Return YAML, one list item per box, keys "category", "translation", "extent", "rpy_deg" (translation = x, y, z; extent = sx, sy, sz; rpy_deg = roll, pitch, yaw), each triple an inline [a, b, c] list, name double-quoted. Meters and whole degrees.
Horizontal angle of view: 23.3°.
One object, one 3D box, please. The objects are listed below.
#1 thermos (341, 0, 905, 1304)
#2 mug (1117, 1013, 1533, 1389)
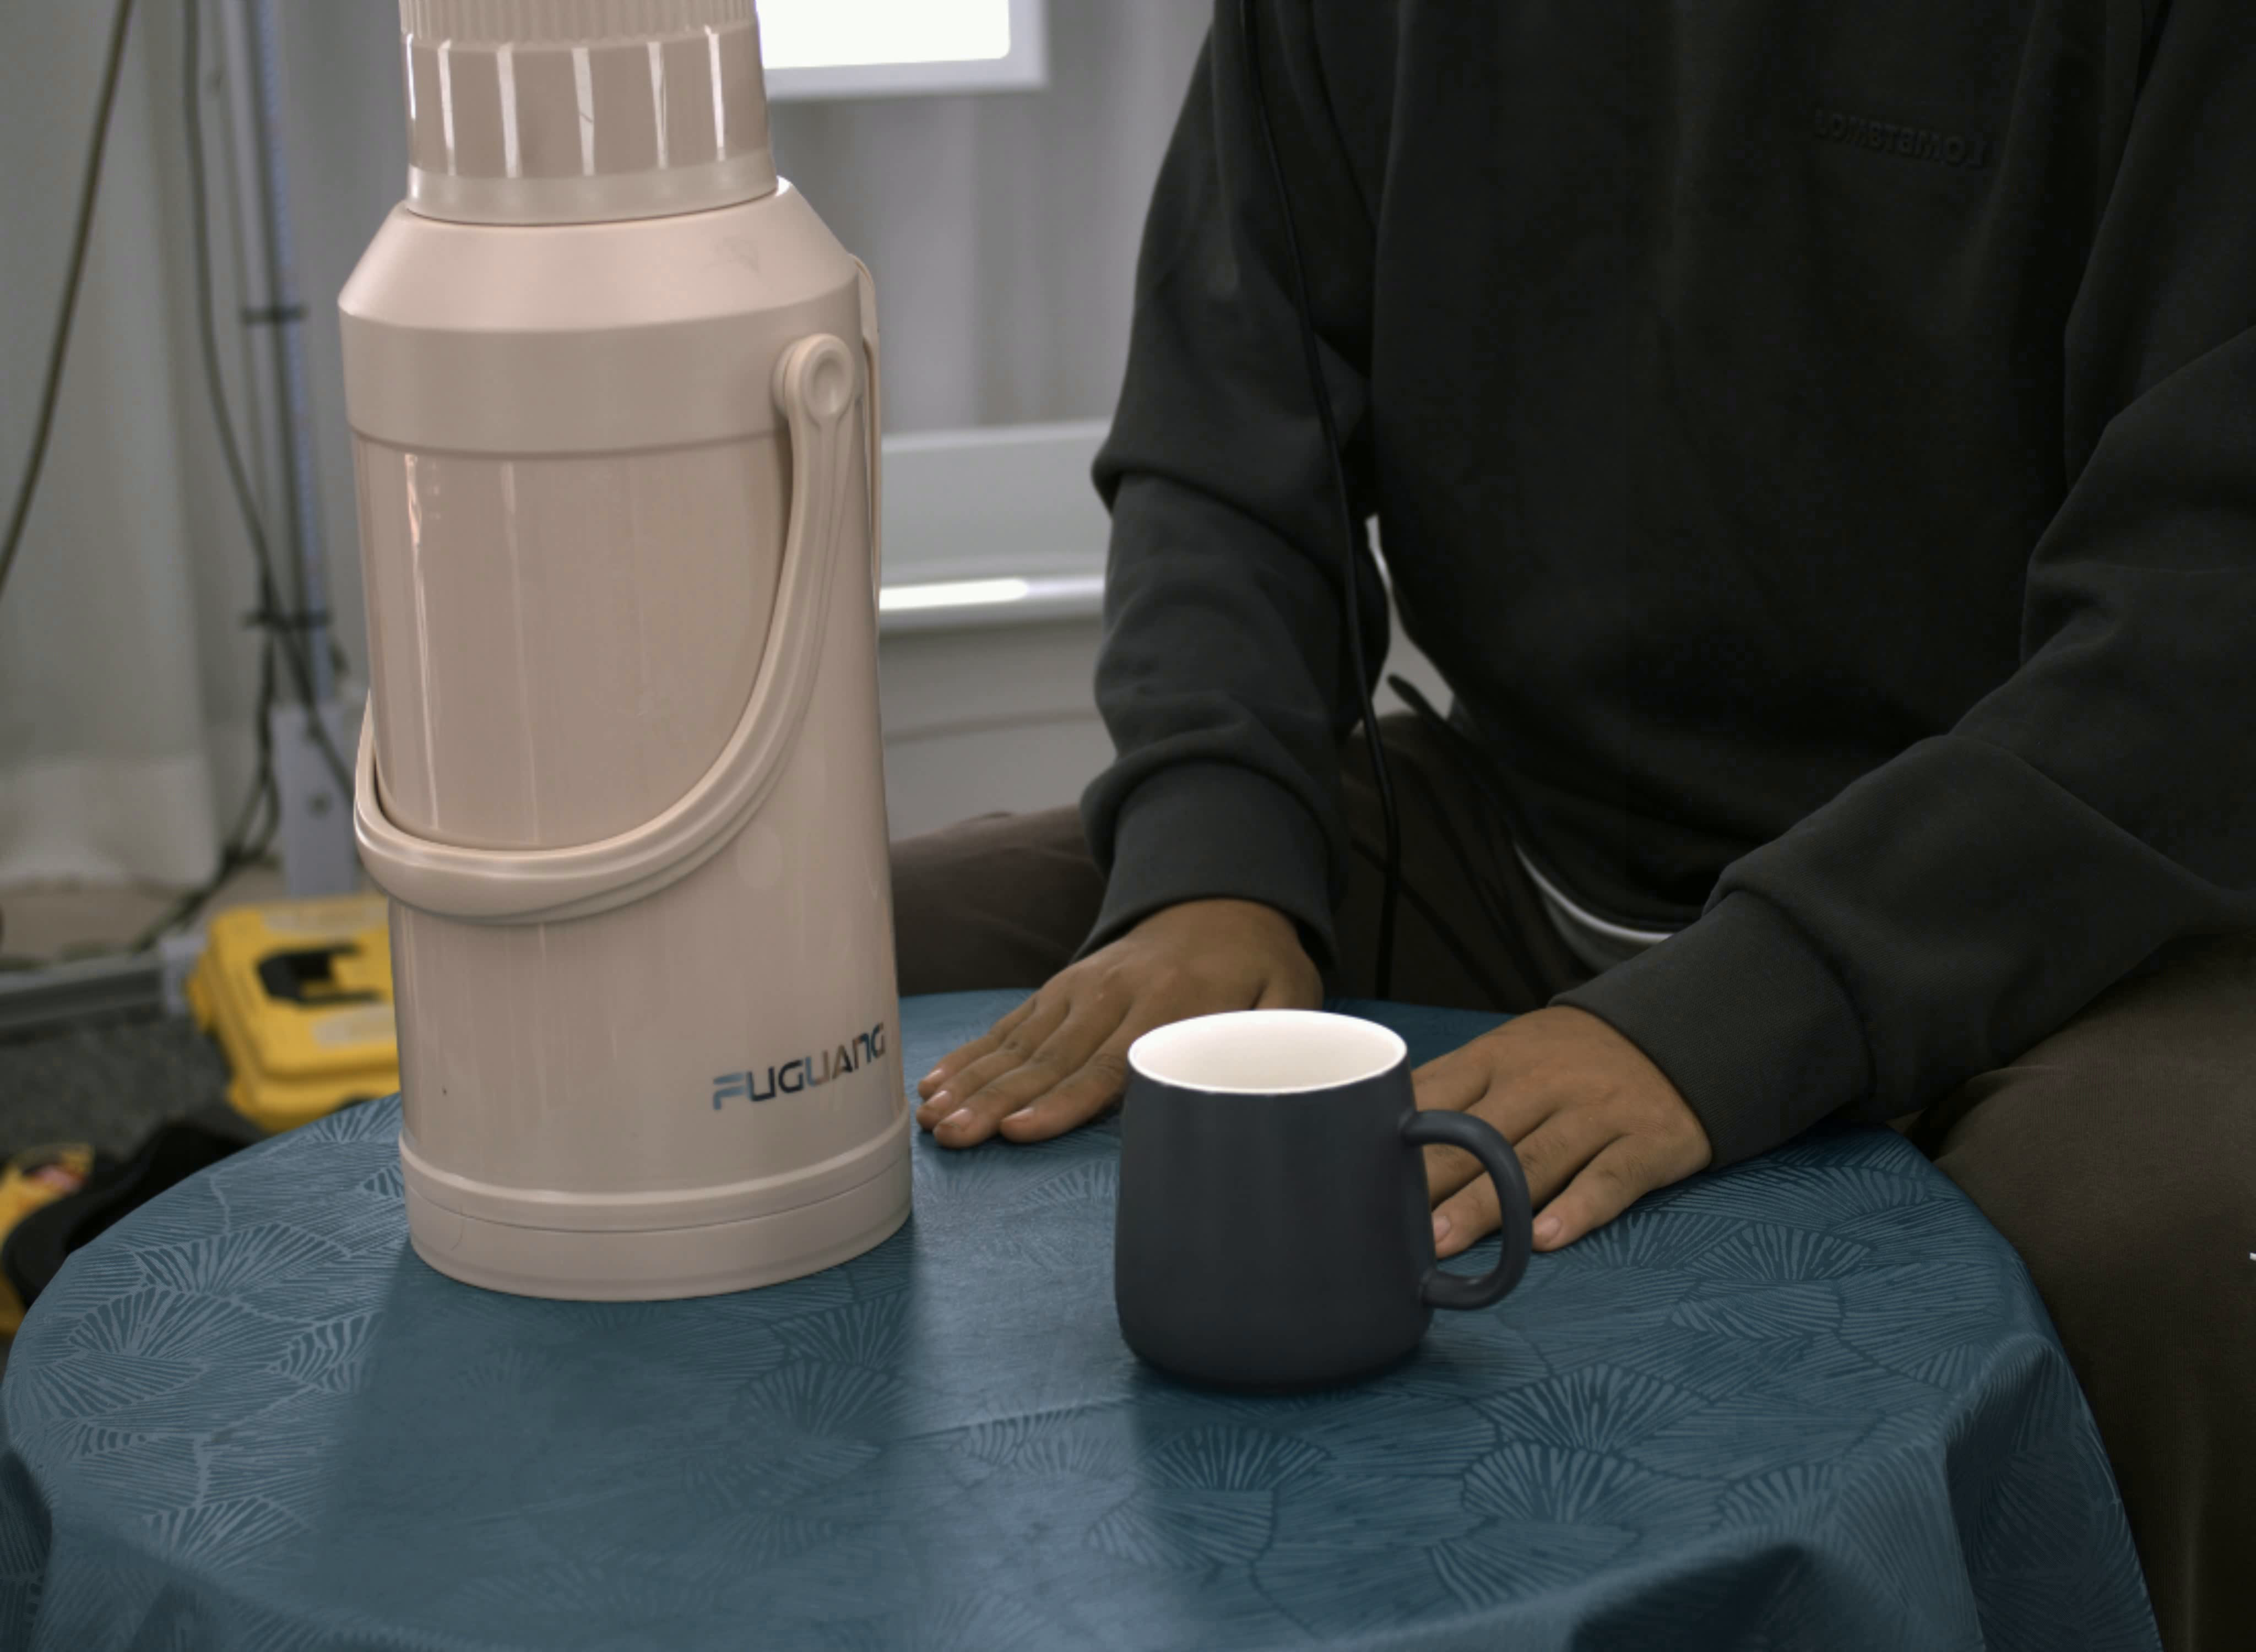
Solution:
- category: "thermos"
  translation: [-0.145, -0.072, 1.678]
  extent: [0.176, 0.405, 0.207]
  rpy_deg: [7, 17, 35]
- category: "mug"
  translation: [0.056, 0.108, 1.558]
  extent: [0.123, 0.089, 0.094]
  rpy_deg: [3, 15, 23]
